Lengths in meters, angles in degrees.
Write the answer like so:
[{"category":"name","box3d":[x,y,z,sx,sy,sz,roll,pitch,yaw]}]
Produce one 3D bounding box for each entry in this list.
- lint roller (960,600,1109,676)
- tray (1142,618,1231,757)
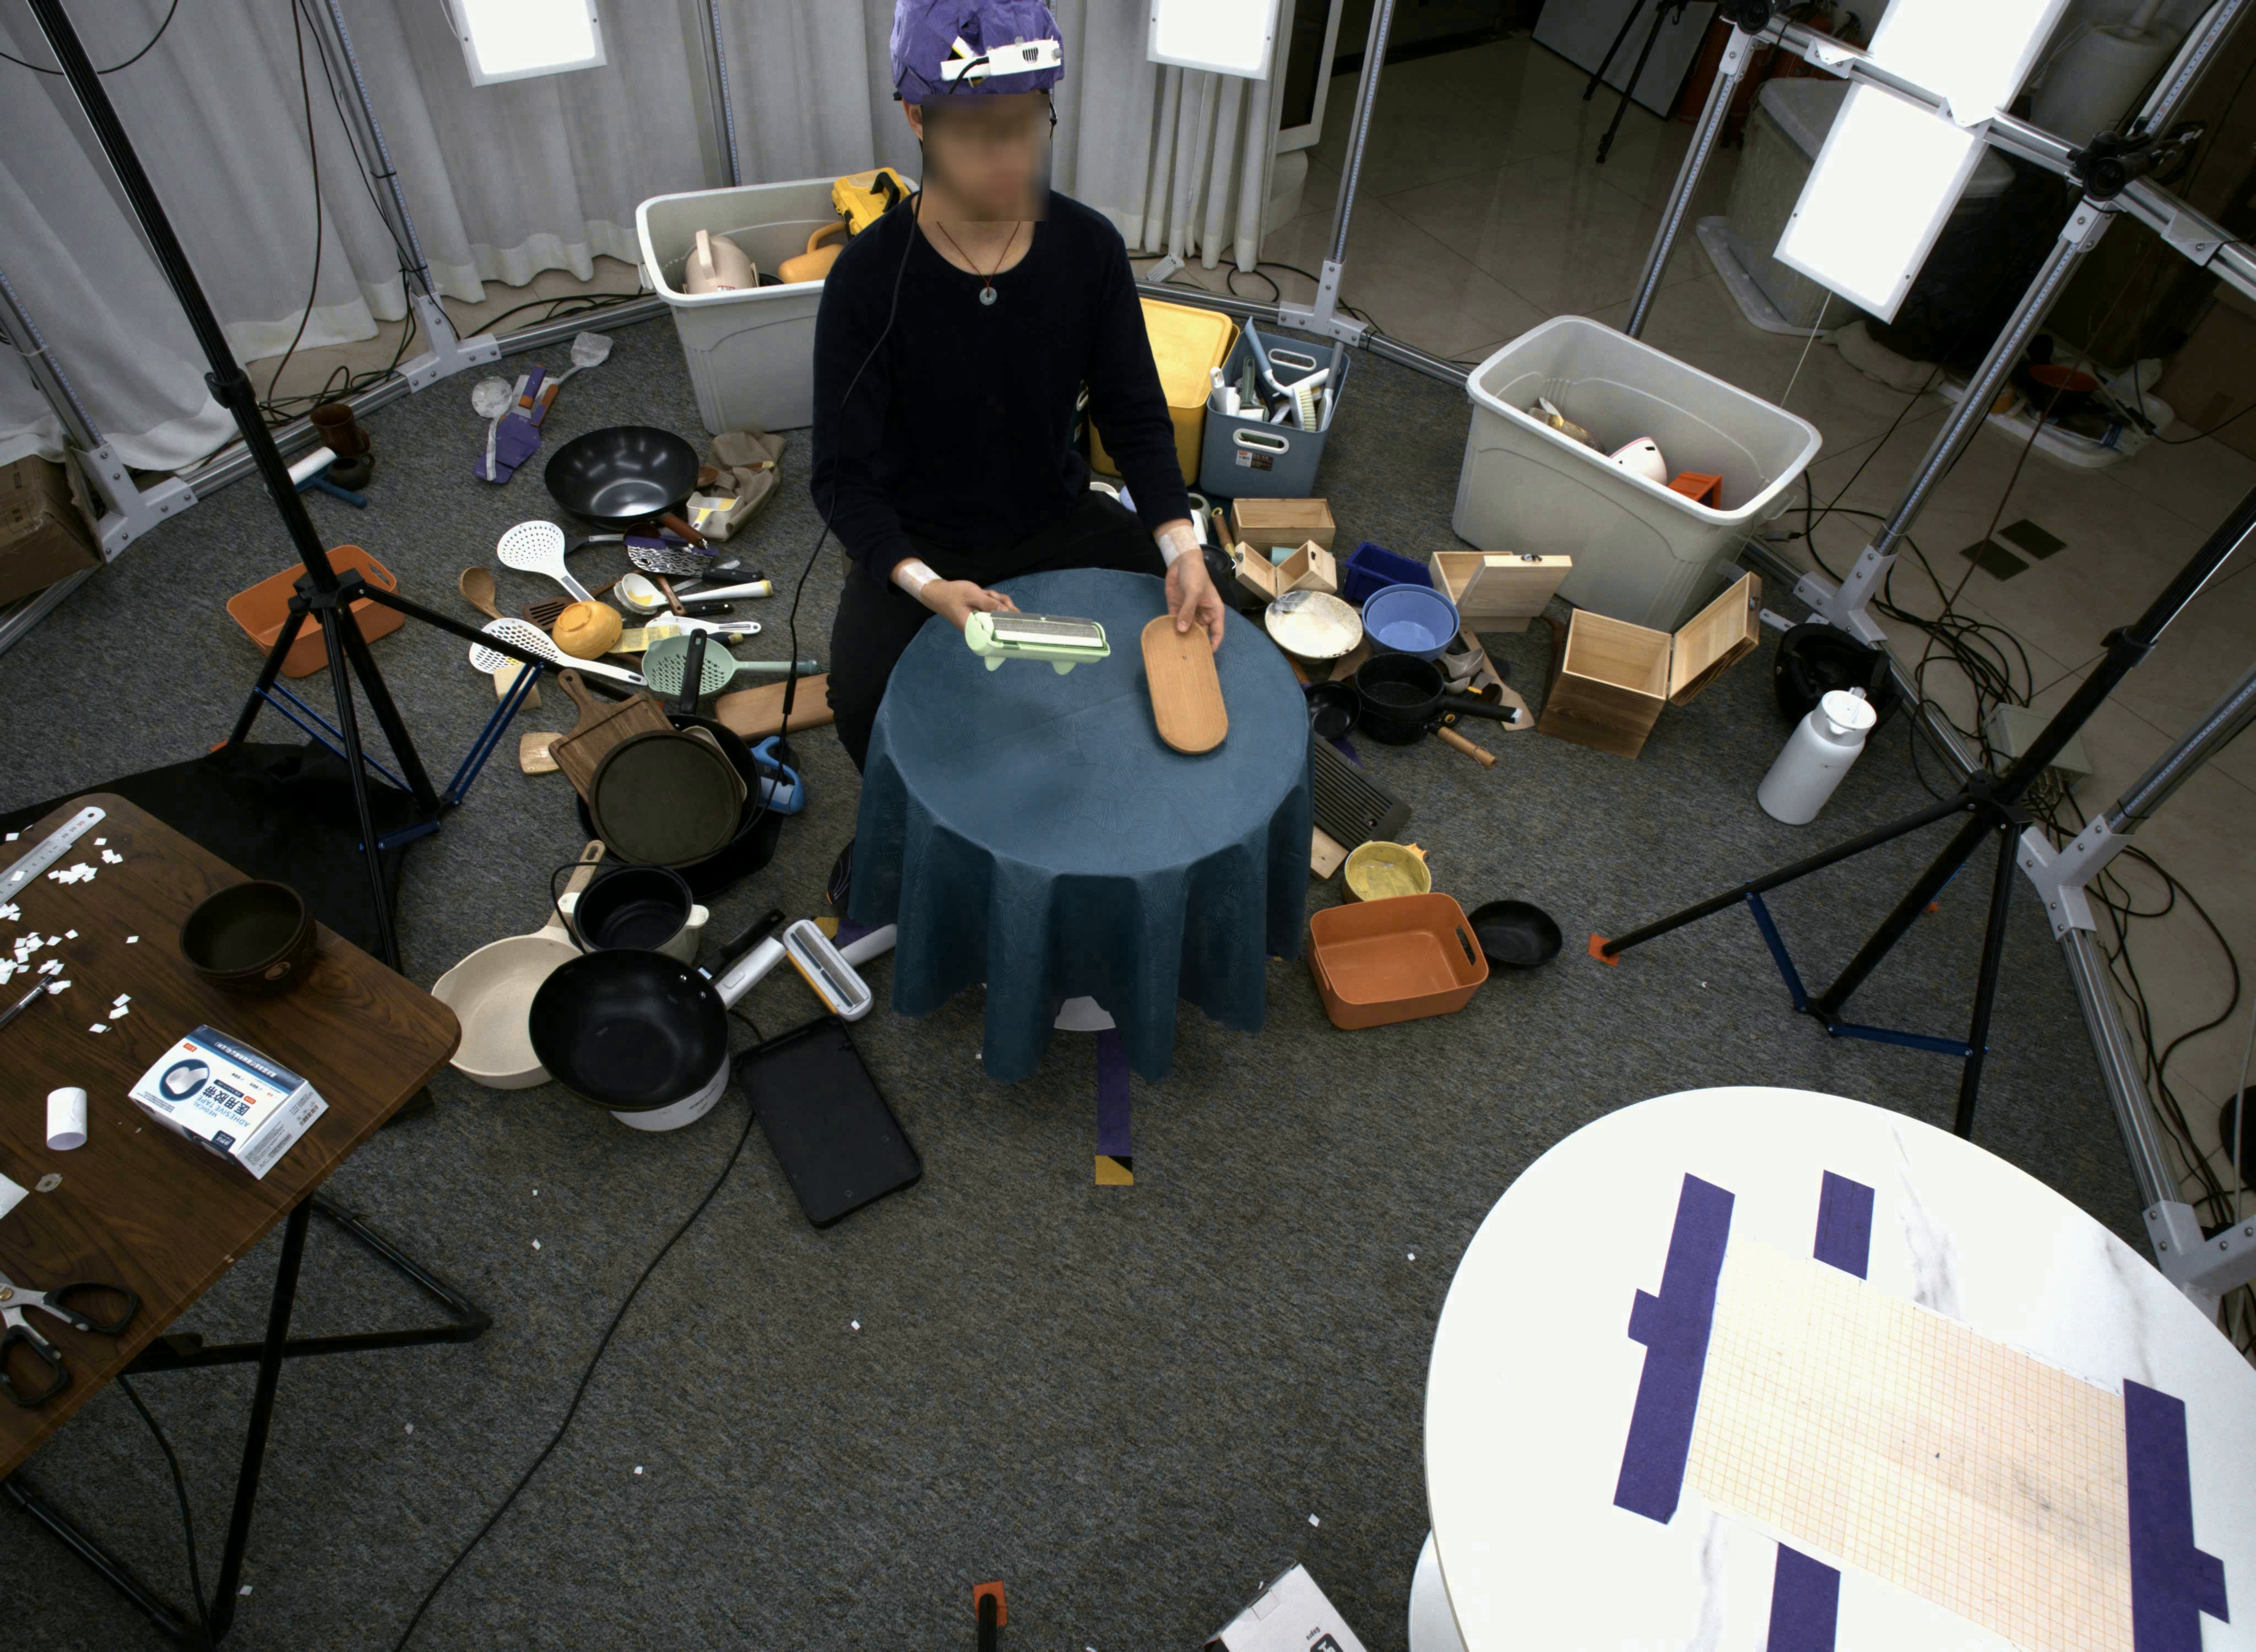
[{"category":"lint roller","box3d":[-0.153,-0.243,1.657,0.197,0.081,0.185,-2,14,-42]},{"category":"tray","box3d":[0.081,-0.197,1.808,0.101,0.020,0.236,-6,62,-9]}]
